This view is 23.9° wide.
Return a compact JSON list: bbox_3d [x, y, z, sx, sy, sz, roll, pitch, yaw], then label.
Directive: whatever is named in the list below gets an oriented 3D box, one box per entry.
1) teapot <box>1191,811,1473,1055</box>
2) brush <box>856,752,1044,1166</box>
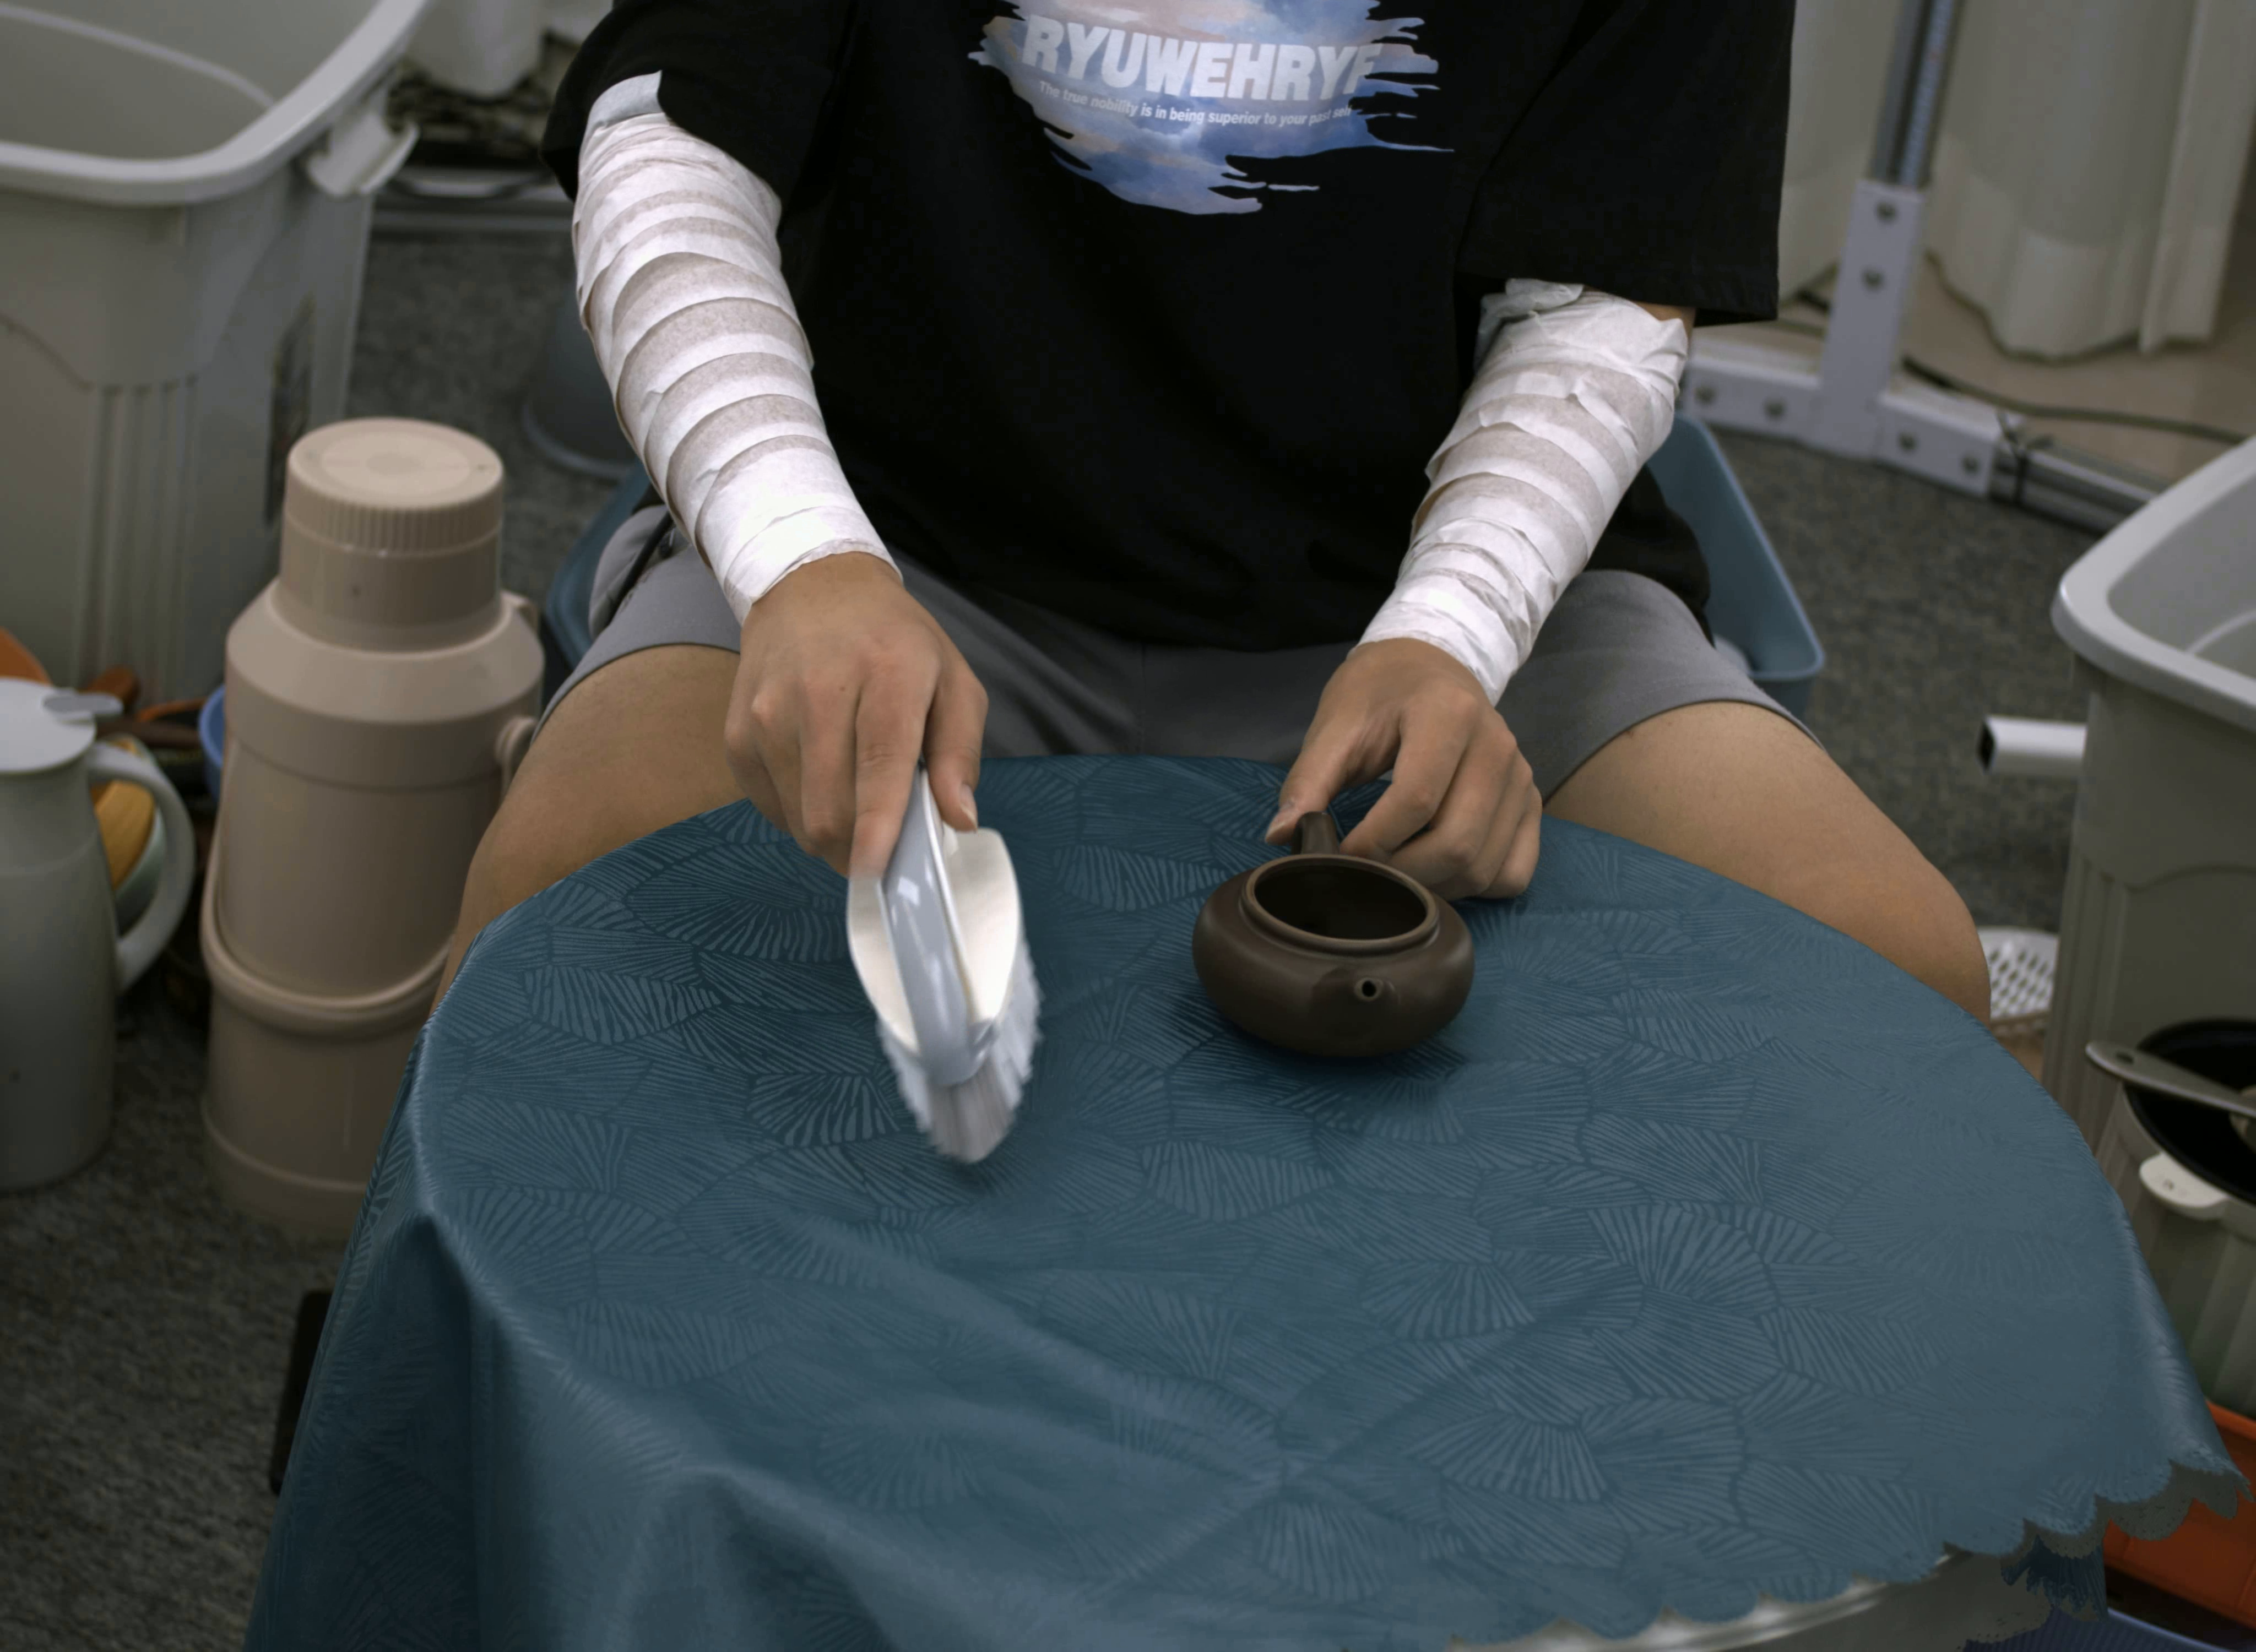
[{"bbox_3d":[0.073,0.042,1.921,0.102,0.053,0.155,2,27,-13],"label":"teapot"},{"bbox_3d":[-0.067,0.038,1.842,0.061,0.093,0.177,-15,30,5],"label":"brush"}]
